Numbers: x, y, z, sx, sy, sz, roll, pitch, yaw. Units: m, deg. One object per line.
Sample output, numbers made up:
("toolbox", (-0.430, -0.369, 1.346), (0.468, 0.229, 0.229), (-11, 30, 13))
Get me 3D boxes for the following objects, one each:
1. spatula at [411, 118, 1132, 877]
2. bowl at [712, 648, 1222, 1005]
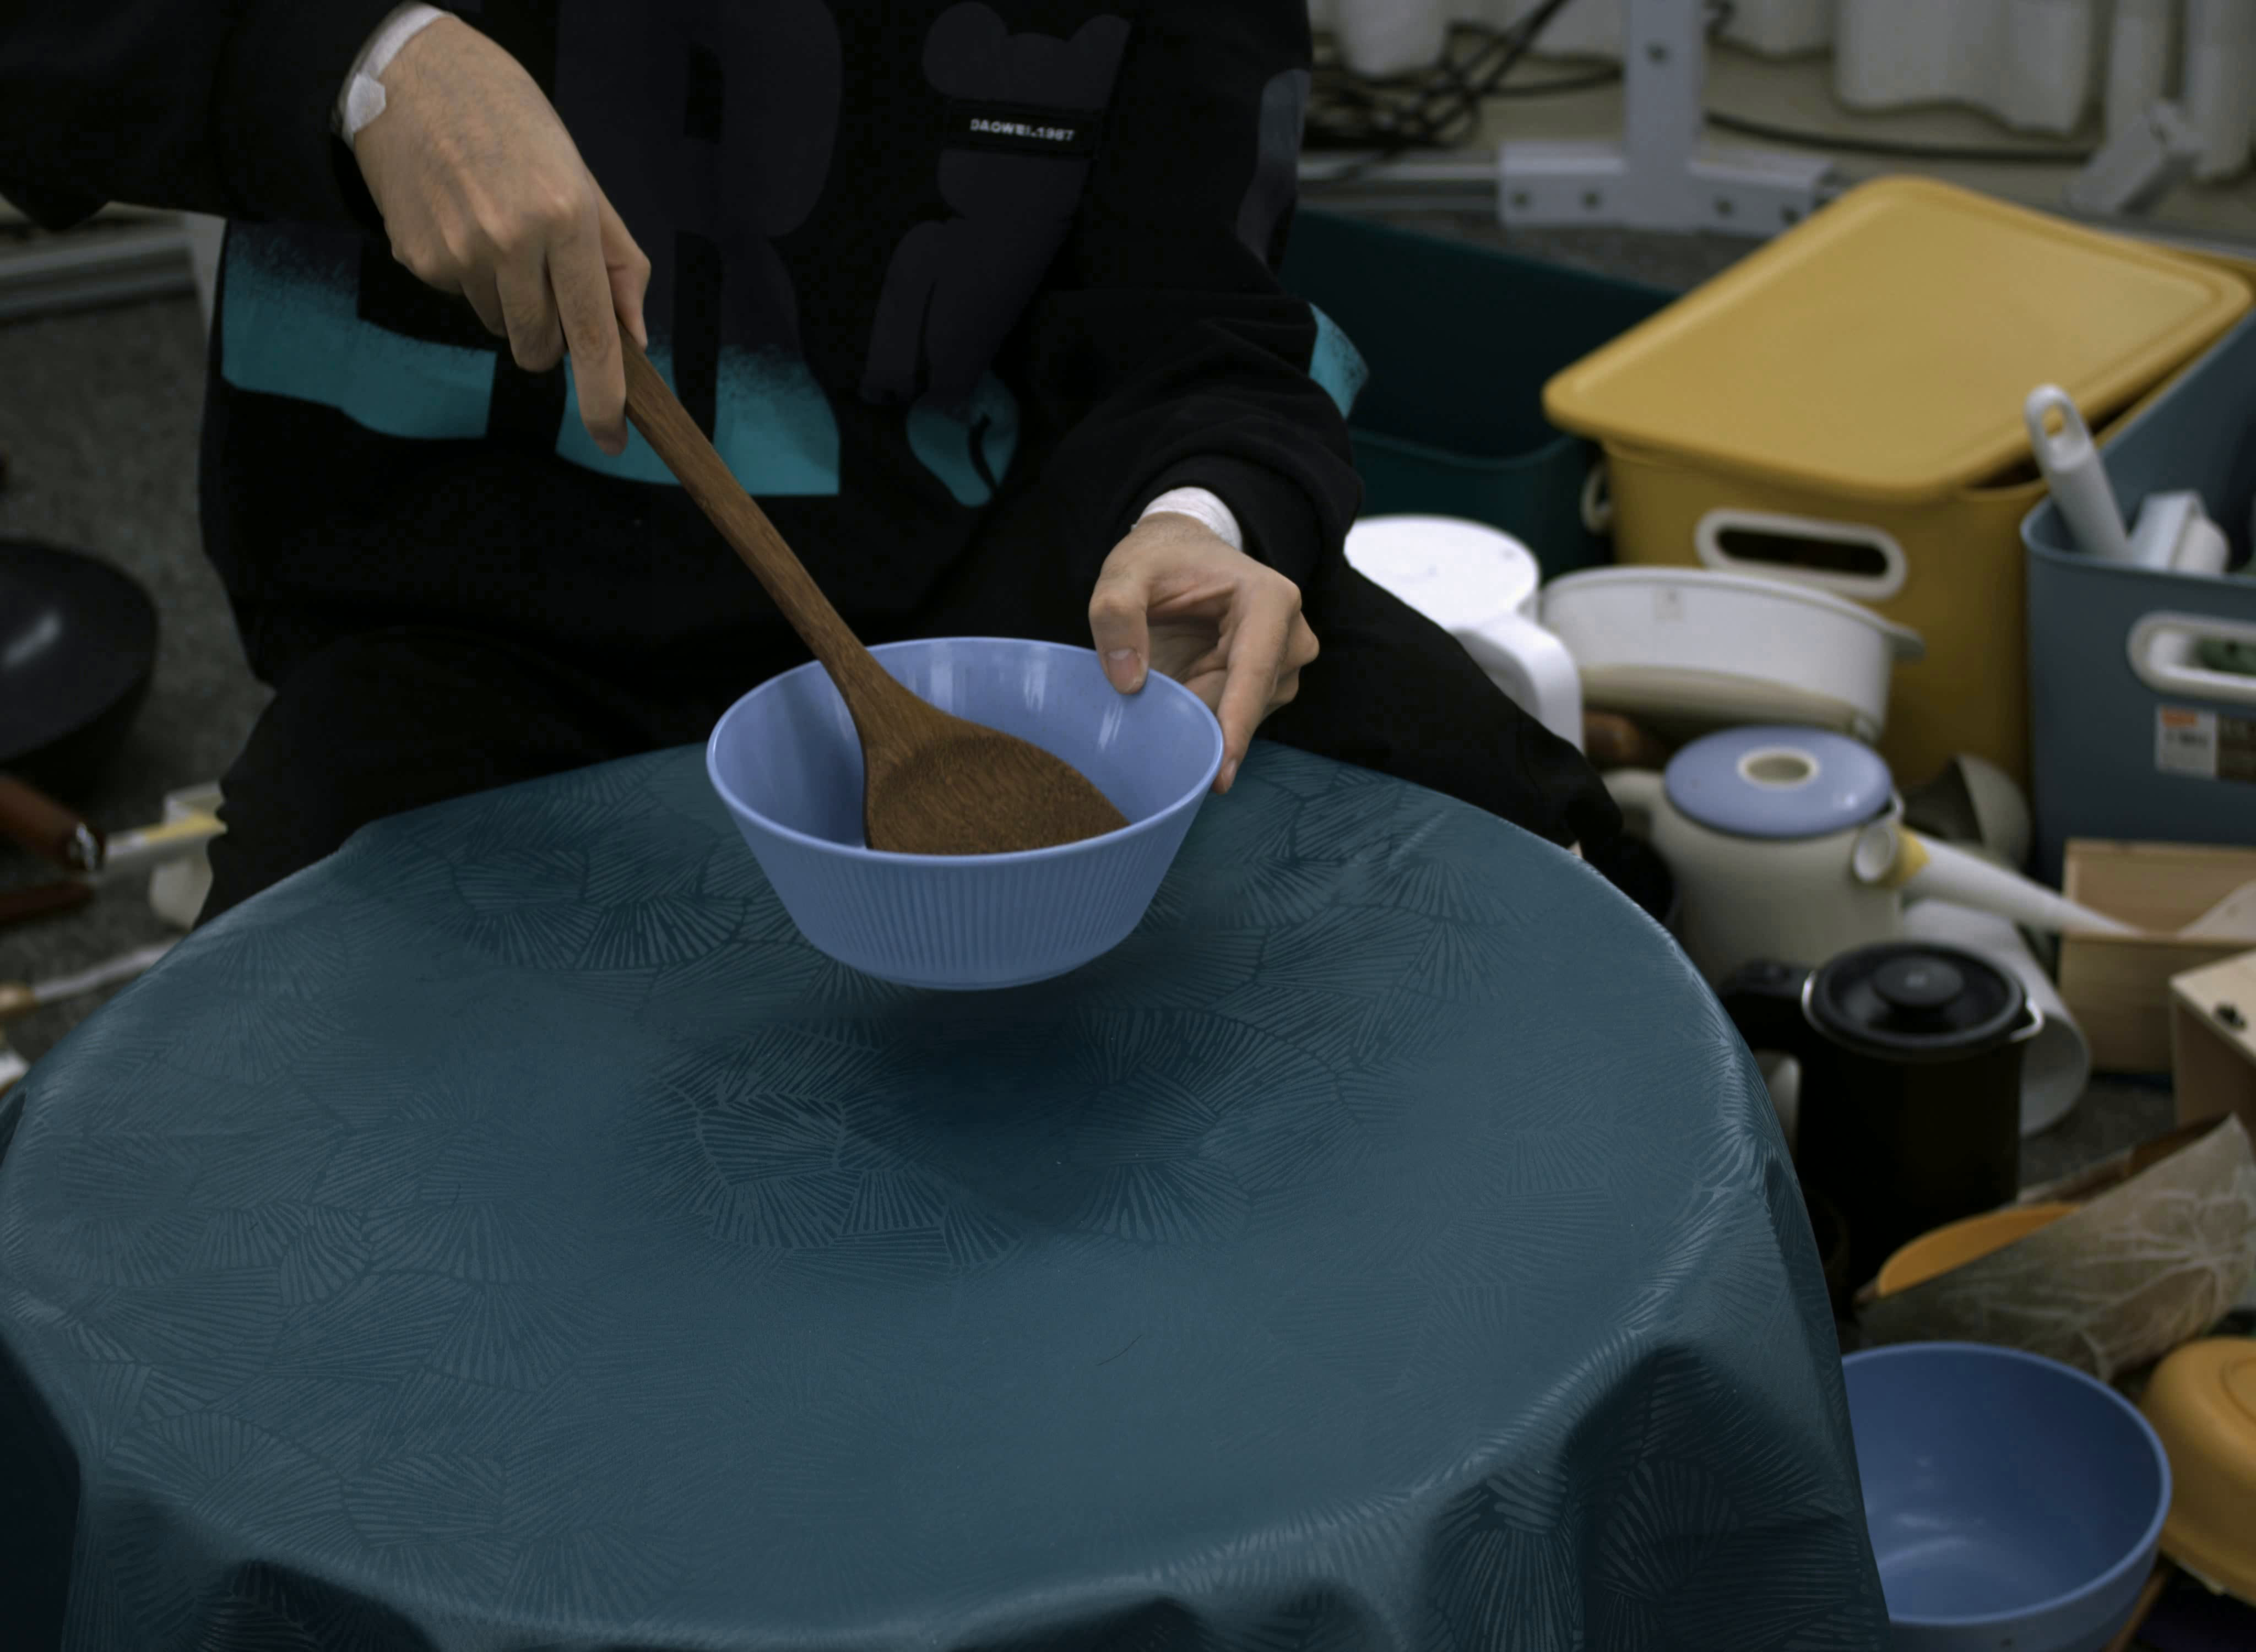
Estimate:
("spatula", (-0.133, -0.105, 1.957), (0.097, 0.015, 0.388), (-29, 73, -35))
("bowl", (-0.052, 0.006, 1.925), (0.175, 0.069, 0.179), (-4, 27, 2))
